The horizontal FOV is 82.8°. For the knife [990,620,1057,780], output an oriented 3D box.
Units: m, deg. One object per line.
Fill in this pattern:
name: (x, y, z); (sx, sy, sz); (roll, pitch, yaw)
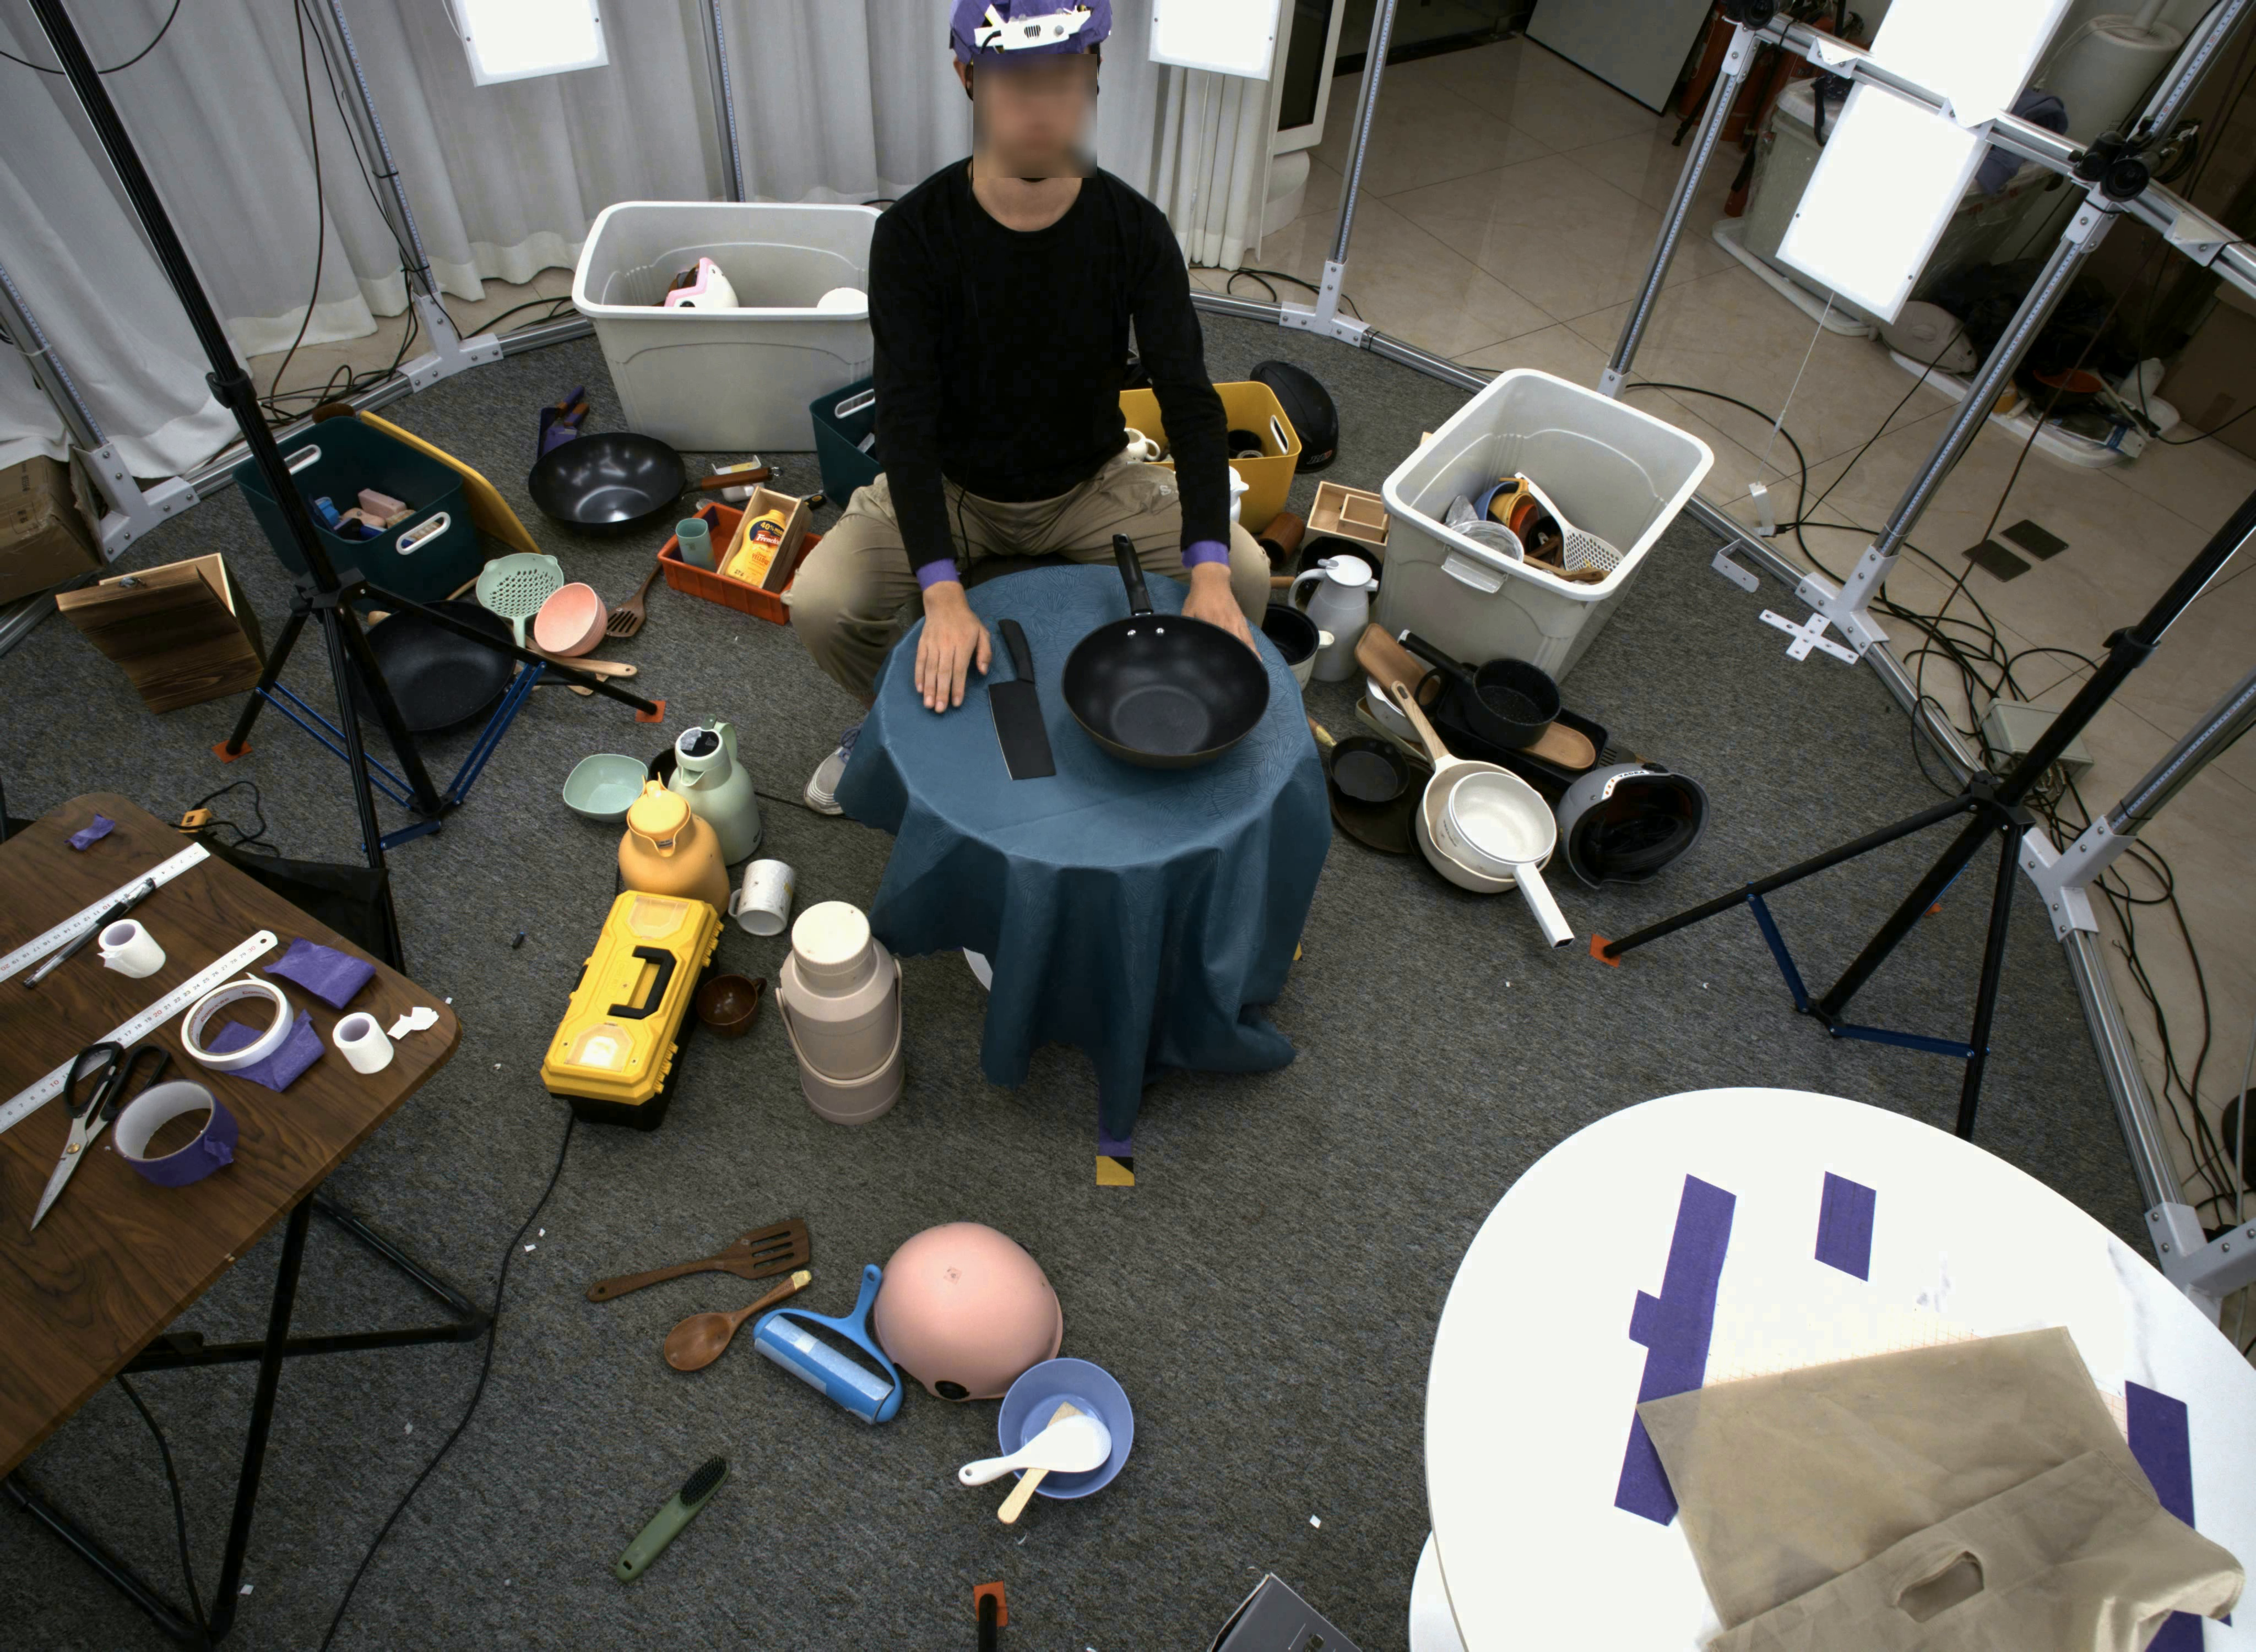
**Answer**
knife: (-0.154, -0.182, 1.809); (0.081, 0.020, 0.310); (-4, 51, -6)

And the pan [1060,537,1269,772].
pan: (0.032, -0.239, 1.826); (0.288, 0.085, 0.475); (-6, 49, -9)
